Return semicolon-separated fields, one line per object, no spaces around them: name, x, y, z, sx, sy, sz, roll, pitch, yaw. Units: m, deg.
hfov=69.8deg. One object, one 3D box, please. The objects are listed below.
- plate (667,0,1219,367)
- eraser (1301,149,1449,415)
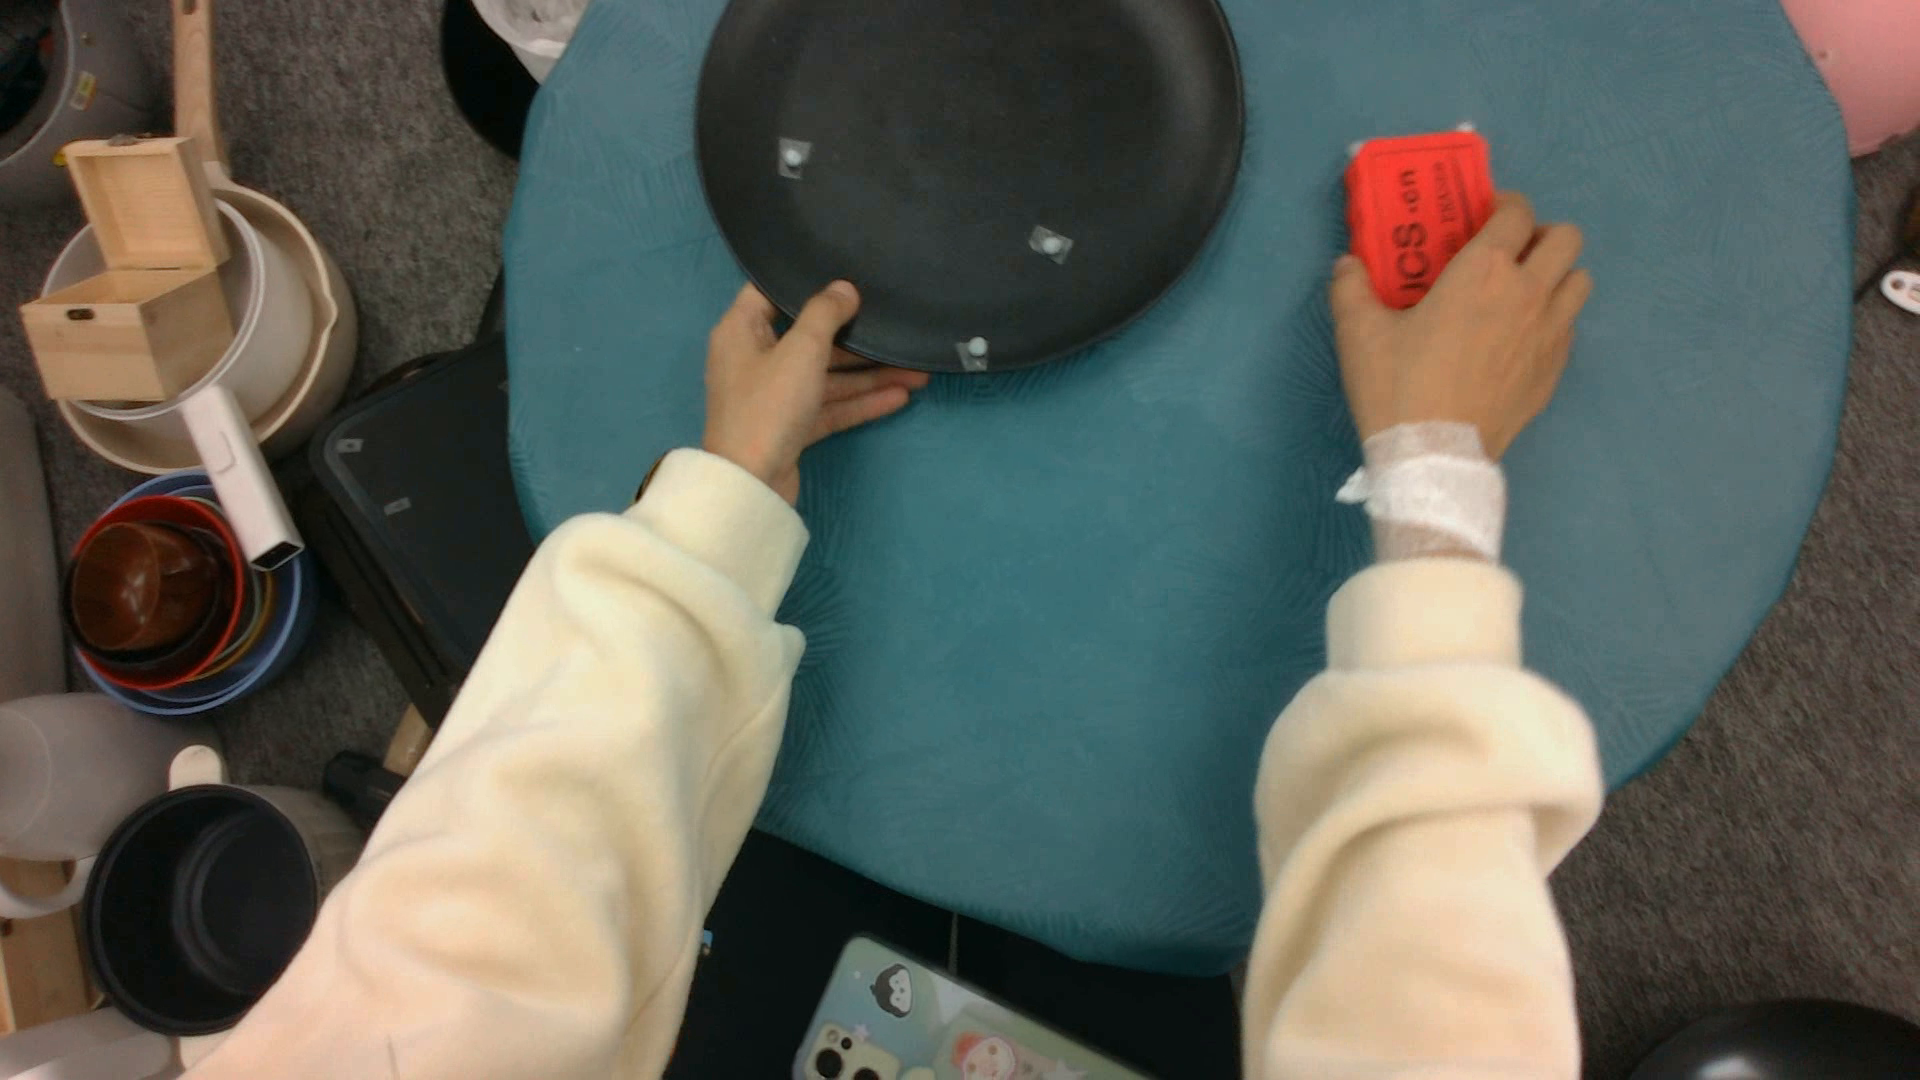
plate;-0.008;-0.191;0.618;0.244;0.023;0.245;0;79;0
eraser;0.176;-0.108;0.583;0.059;0.023;0.108;1;87;-17
